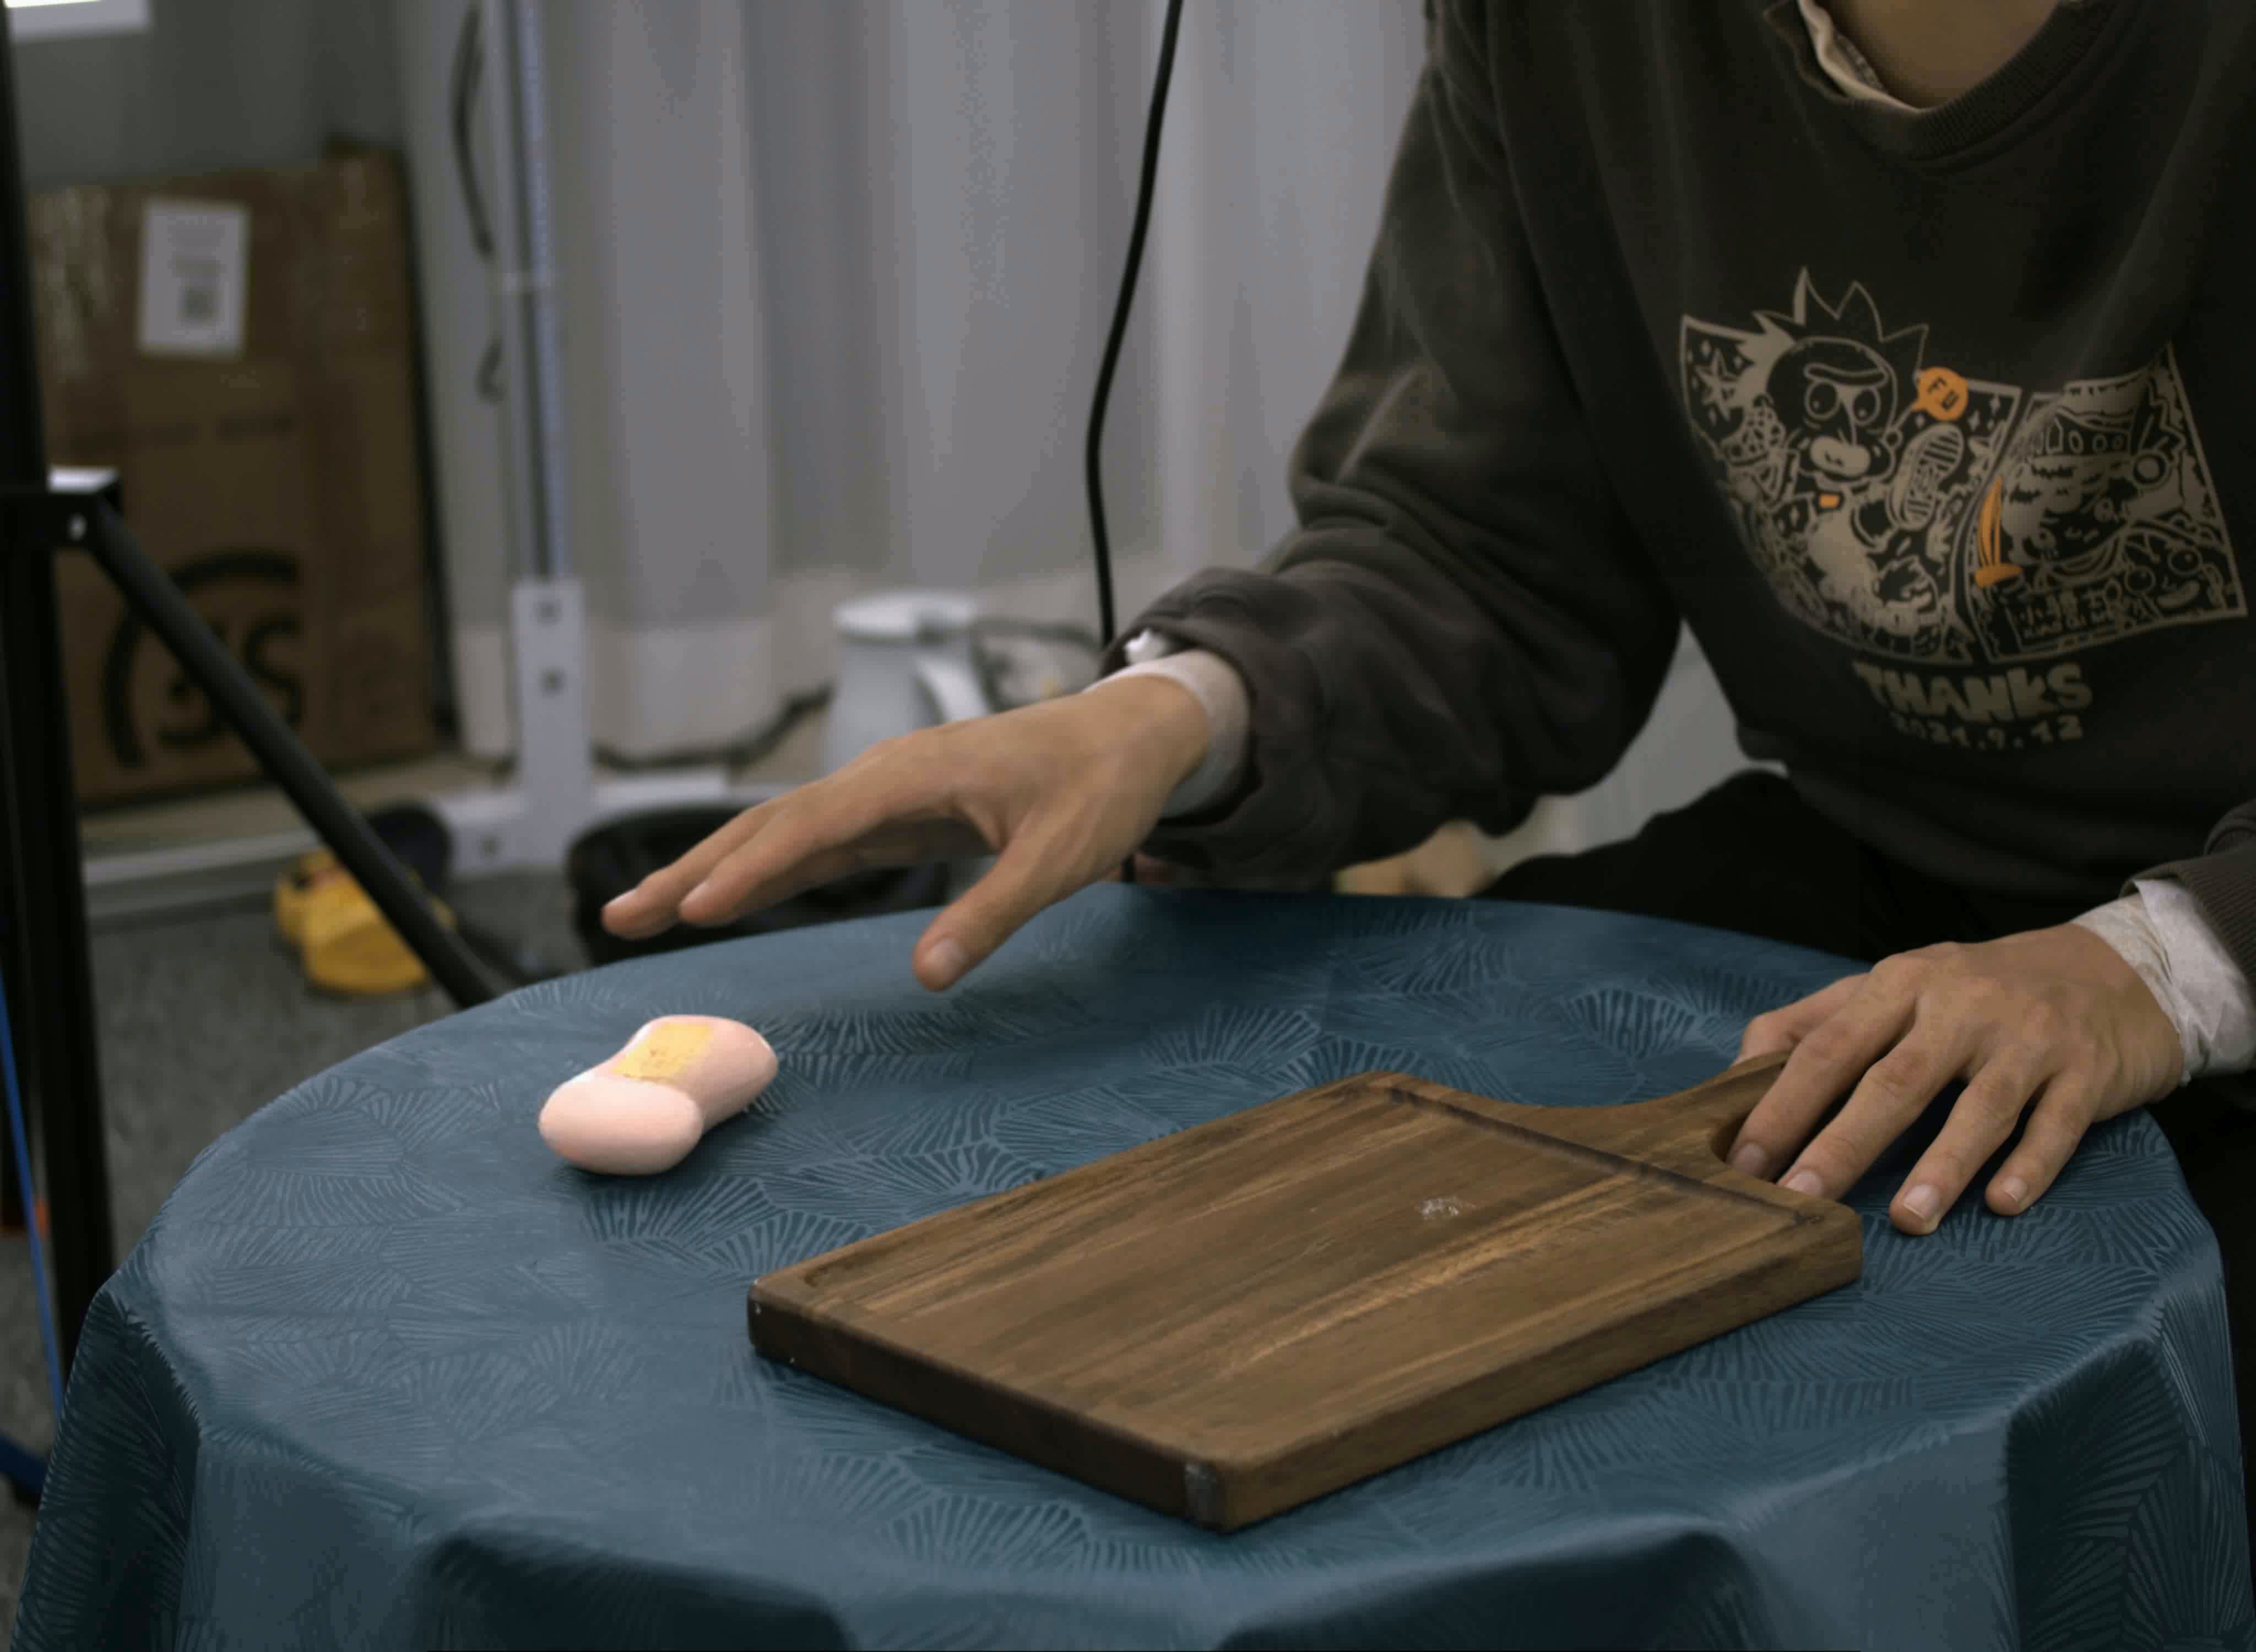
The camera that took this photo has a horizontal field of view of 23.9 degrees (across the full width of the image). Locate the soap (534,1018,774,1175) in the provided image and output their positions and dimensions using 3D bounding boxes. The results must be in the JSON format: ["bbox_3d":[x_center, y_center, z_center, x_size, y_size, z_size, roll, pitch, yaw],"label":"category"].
[{"bbox_3d":[-0.144,0.082,1.627,0.051,0.030,0.093,4,15,20],"label":"soap"}]

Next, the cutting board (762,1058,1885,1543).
[{"bbox_3d":[0.091,0.117,1.477,0.344,0.023,0.206,-15,20,-38],"label":"cutting board"}]
